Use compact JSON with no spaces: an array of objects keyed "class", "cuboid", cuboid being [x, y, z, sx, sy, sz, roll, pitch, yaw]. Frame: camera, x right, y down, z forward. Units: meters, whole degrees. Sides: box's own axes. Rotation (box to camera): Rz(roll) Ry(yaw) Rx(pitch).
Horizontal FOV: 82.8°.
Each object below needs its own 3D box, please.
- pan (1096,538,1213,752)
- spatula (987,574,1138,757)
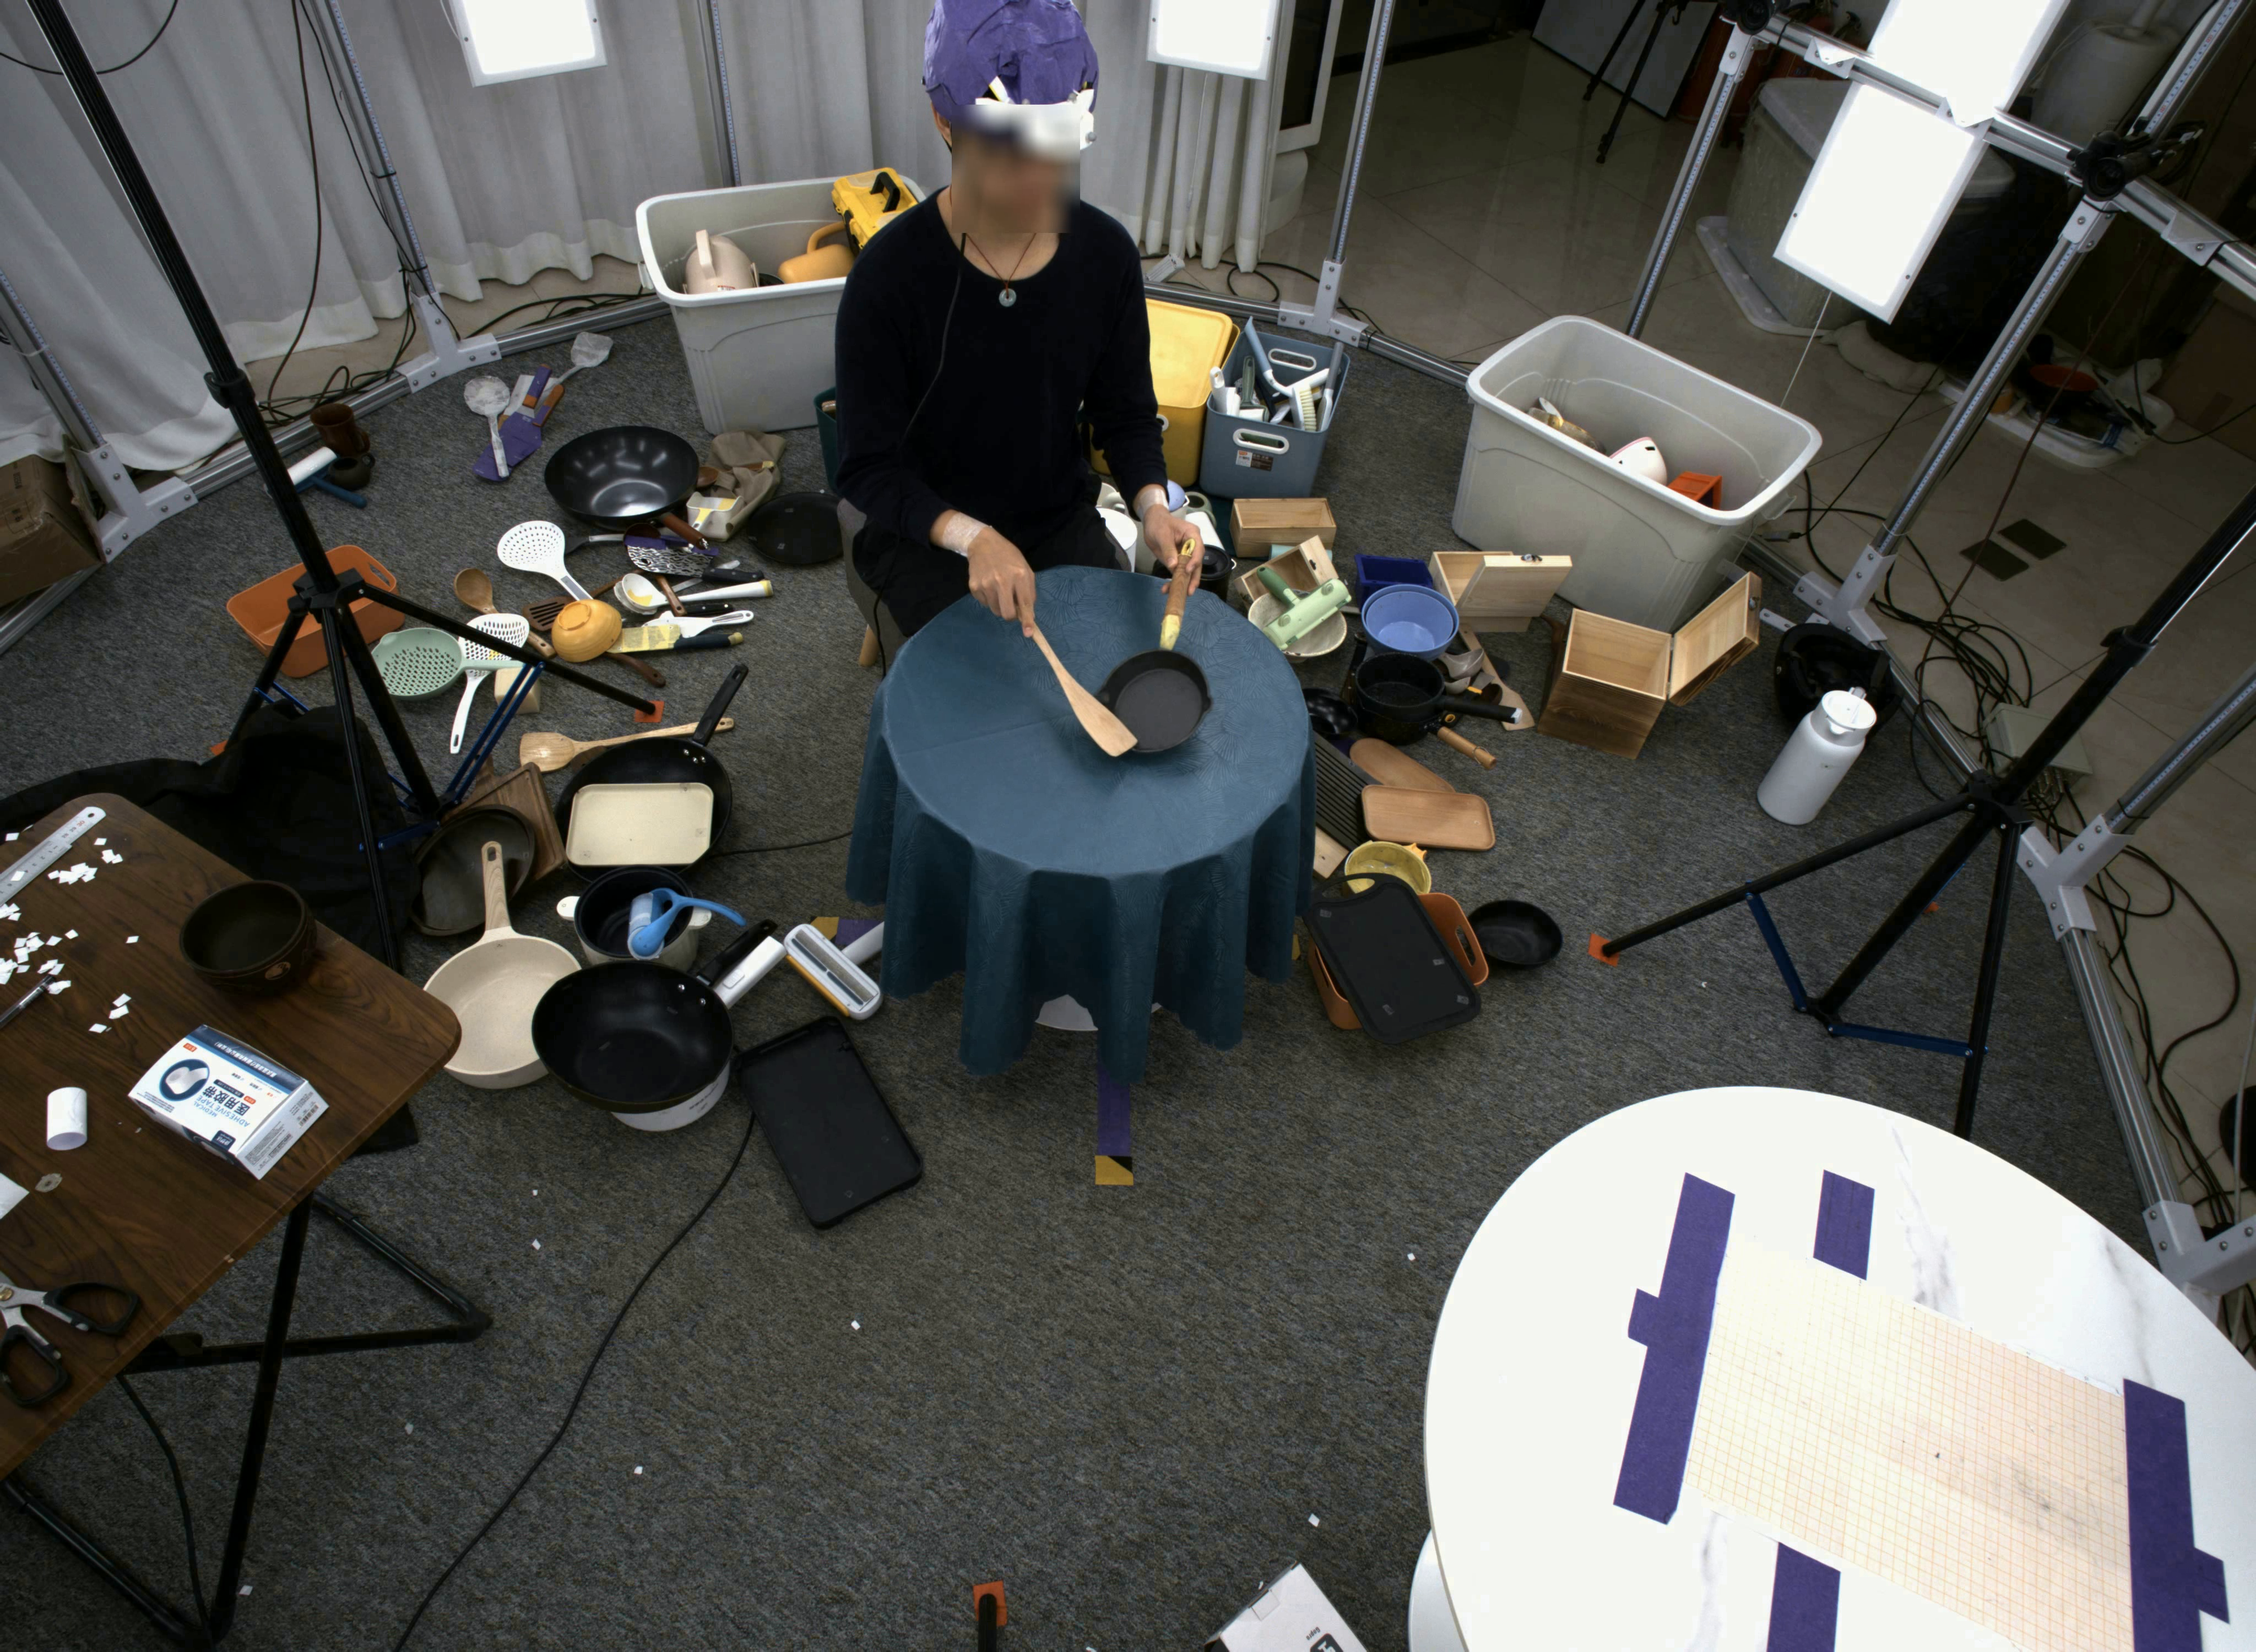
[{"class":"pan","cuboid":[0.057,-0.249,1.785,0.170,0.048,0.328,8,71,20]},{"class":"spatula","cuboid":[-0.095,-0.224,1.761,0.080,0.016,0.331,-17,67,-52]}]
